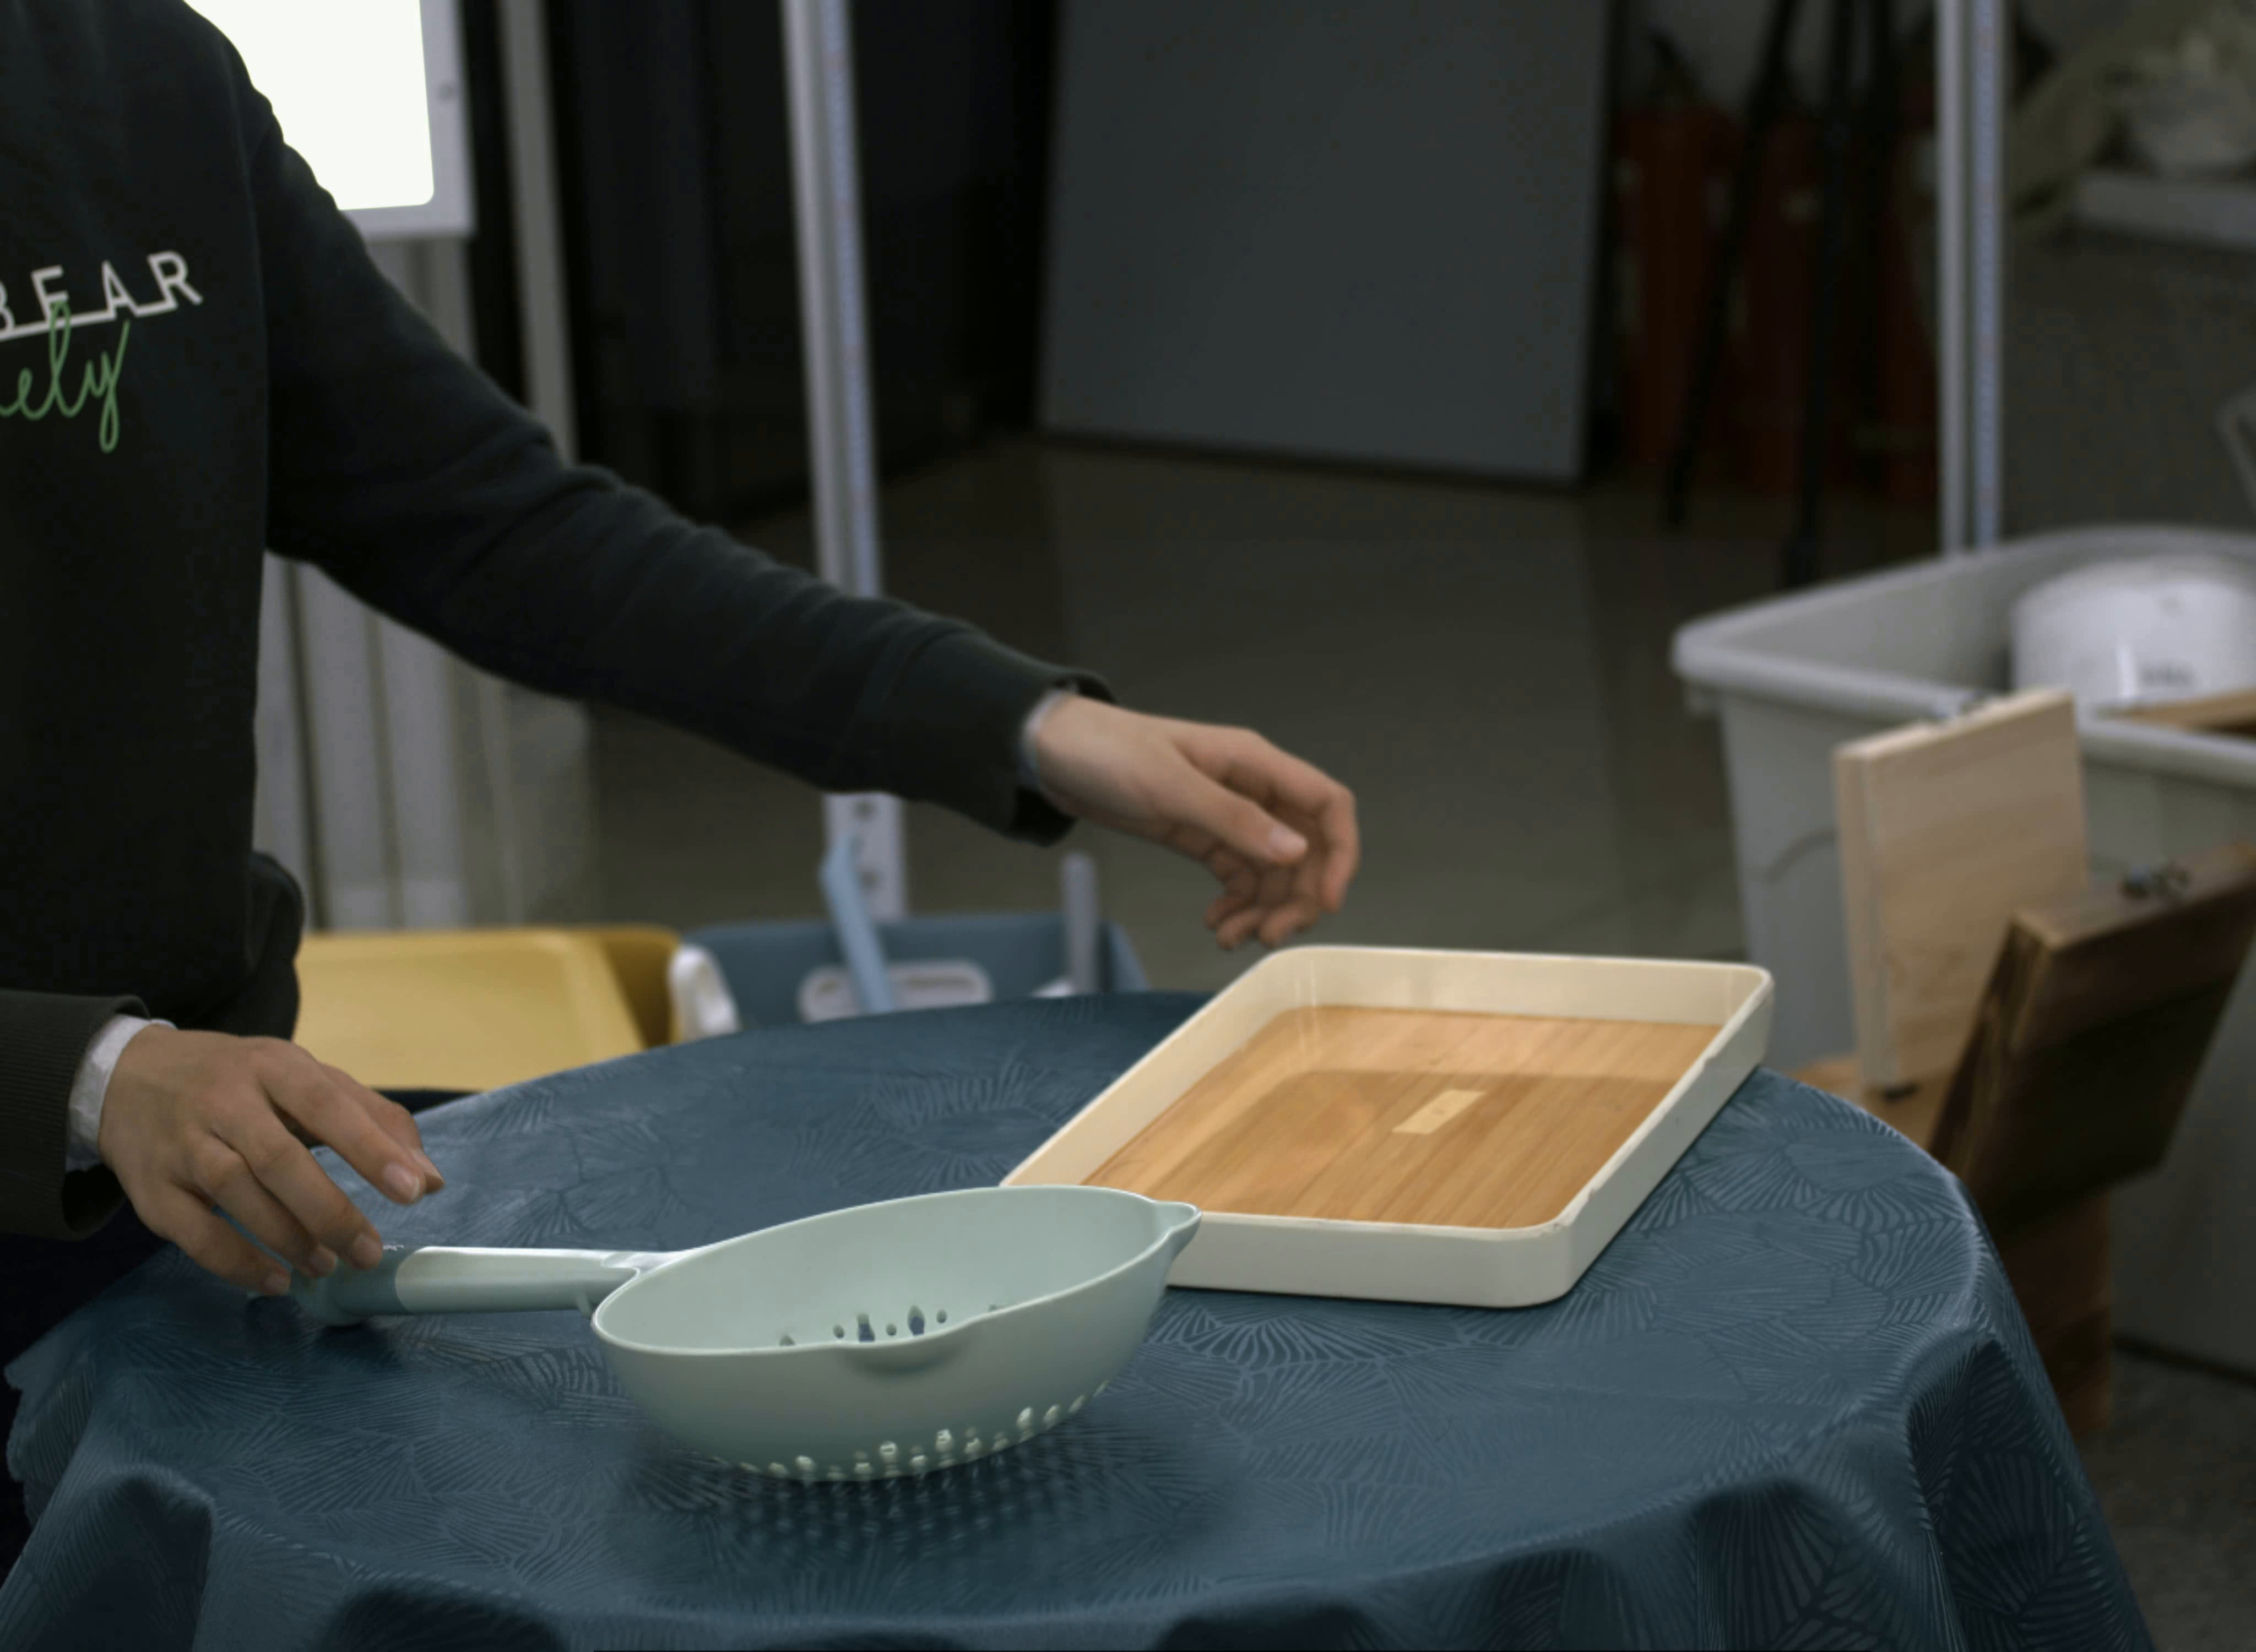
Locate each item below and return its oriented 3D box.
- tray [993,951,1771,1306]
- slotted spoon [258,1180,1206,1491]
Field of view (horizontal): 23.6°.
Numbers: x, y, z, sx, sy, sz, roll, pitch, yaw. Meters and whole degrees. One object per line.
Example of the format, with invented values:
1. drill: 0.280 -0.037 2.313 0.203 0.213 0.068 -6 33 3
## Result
1. tray: 0.091 0.096 1.790 0.191 0.028 0.297 2 15 21
2. slotted spoon: -0.139 0.140 1.599 0.362 0.076 0.166 8 18 40
